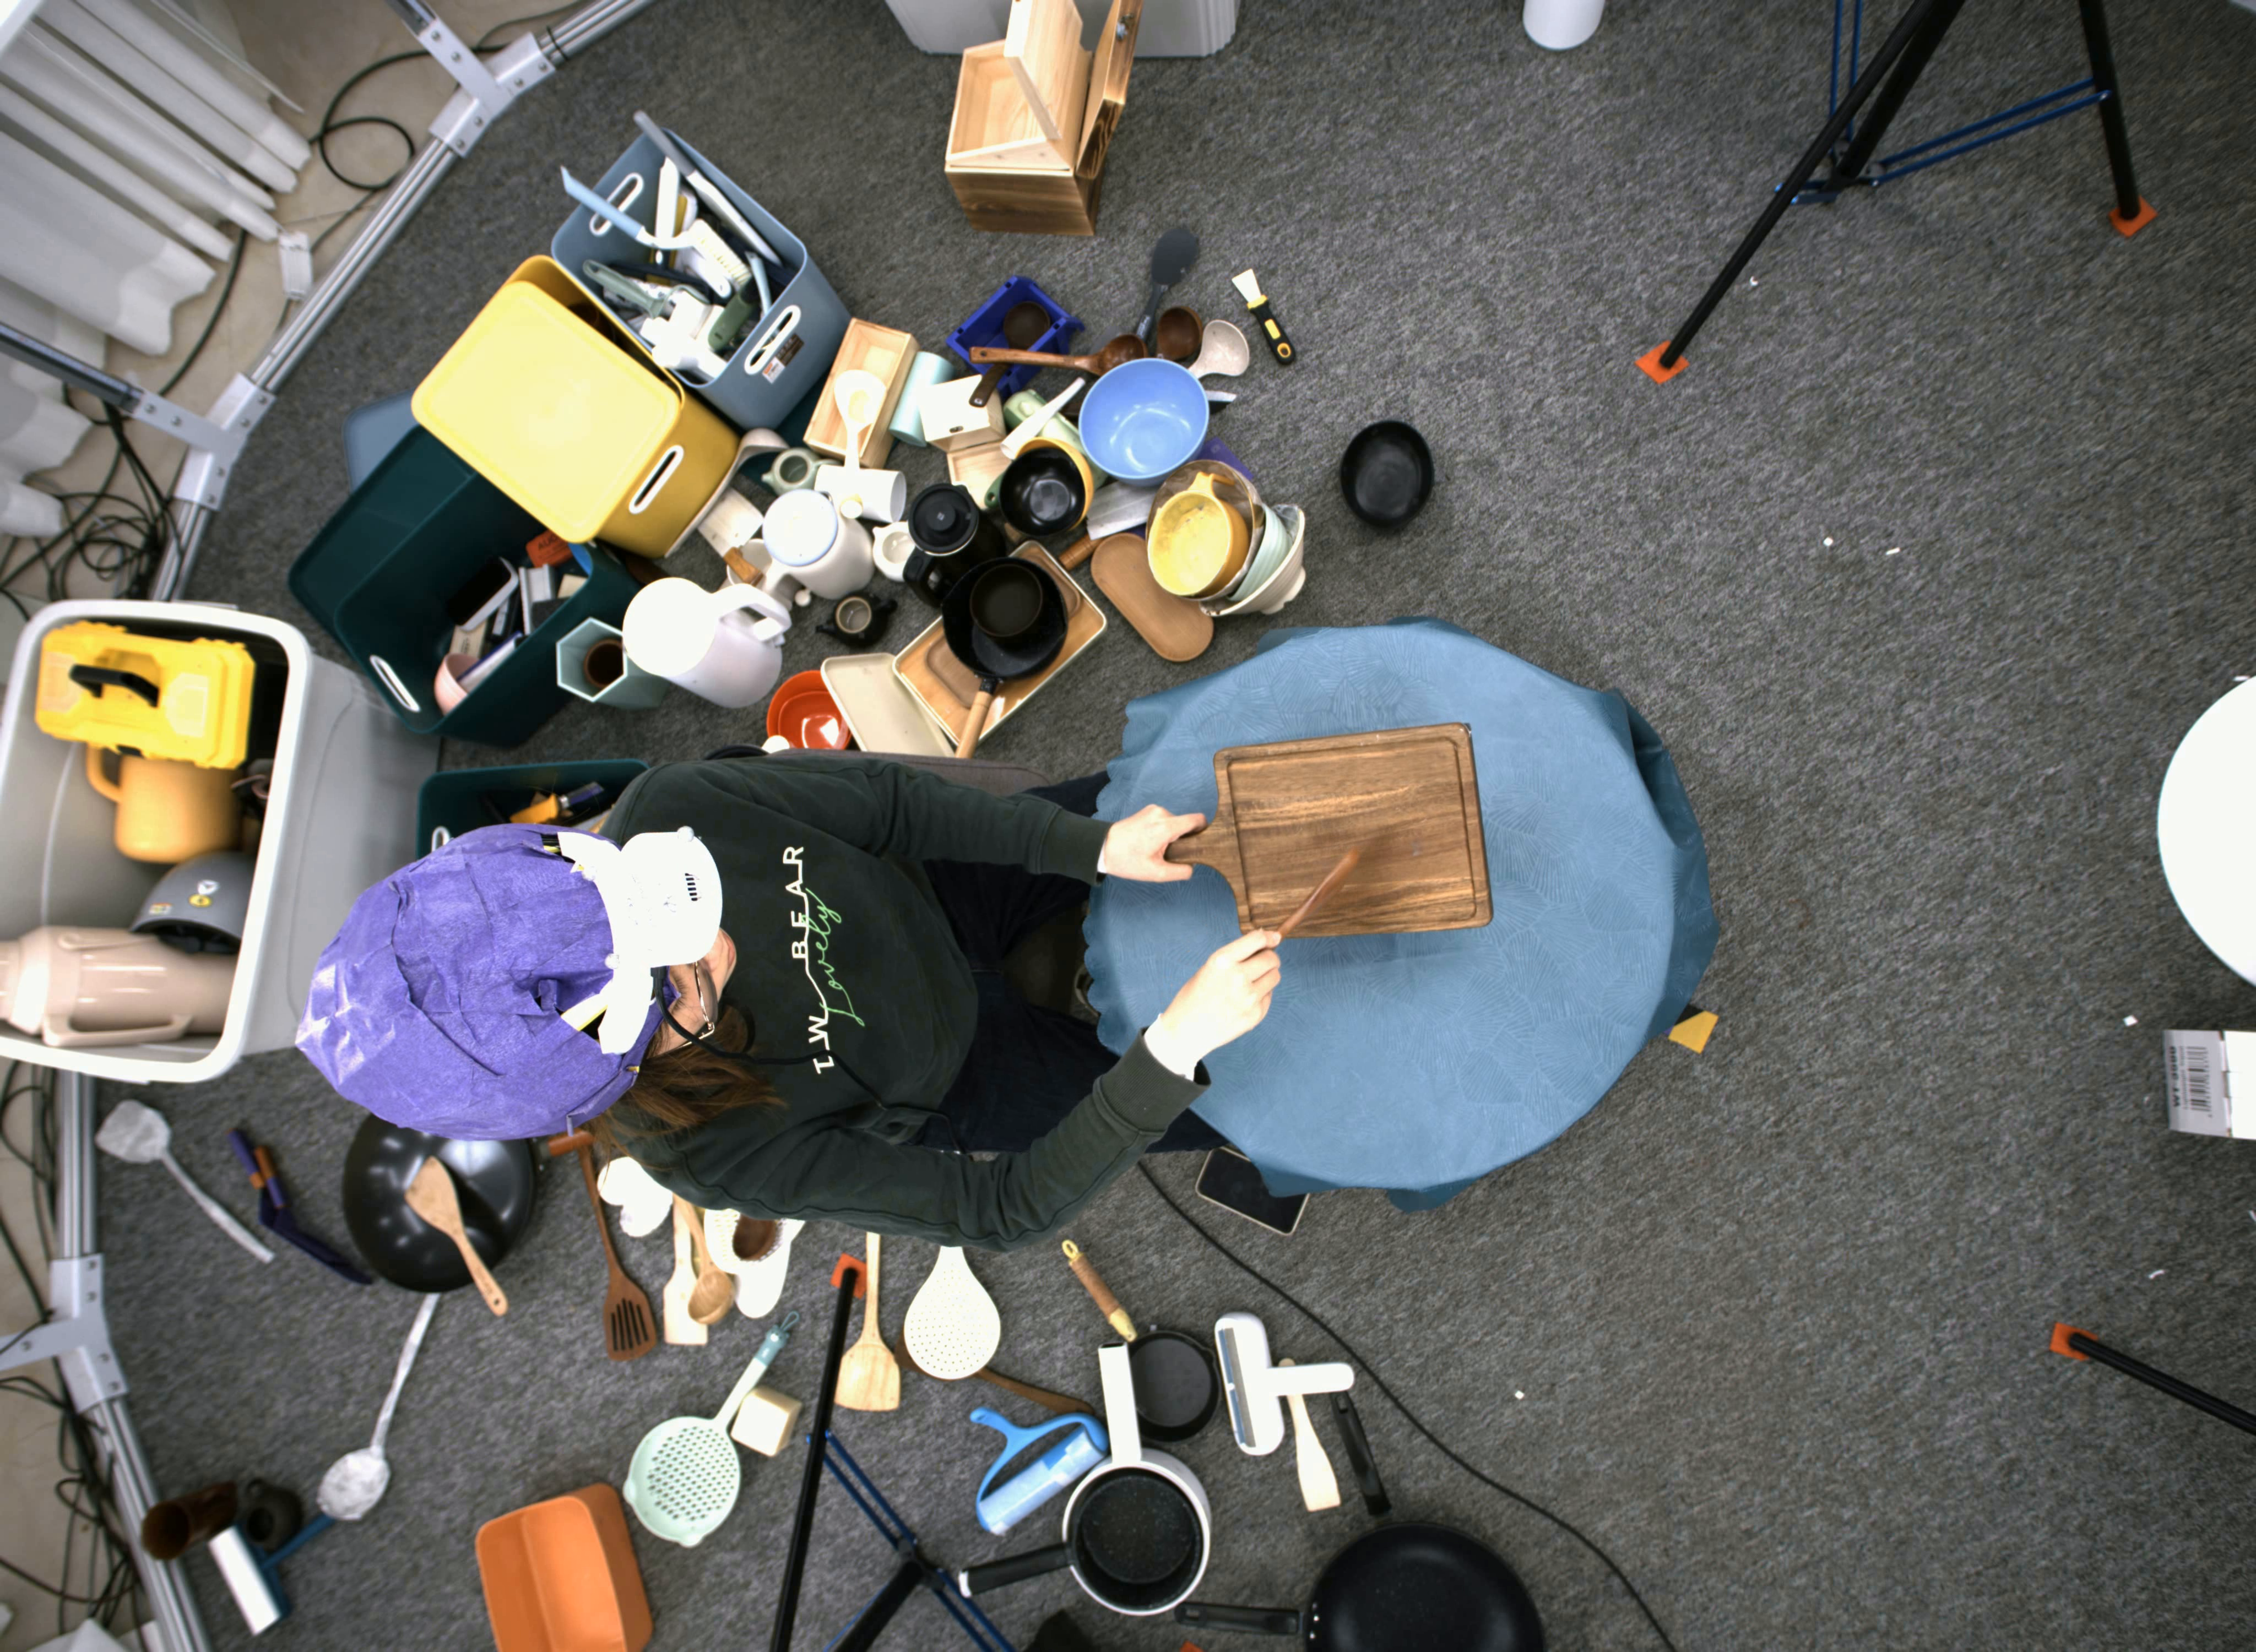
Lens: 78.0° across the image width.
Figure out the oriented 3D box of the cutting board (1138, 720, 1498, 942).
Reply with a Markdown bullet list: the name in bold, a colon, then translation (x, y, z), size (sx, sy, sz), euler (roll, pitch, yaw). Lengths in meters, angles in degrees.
- **cutting board**: translation (0.173, 0.012, 1.355), size (0.355, 0.023, 0.203), euler (-5, 105, 24)

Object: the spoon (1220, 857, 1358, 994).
- **spoon**: translation (0.146, 0.088, 1.235), size (0.017, 0.211, 0.077), euler (46, 138, 10)
